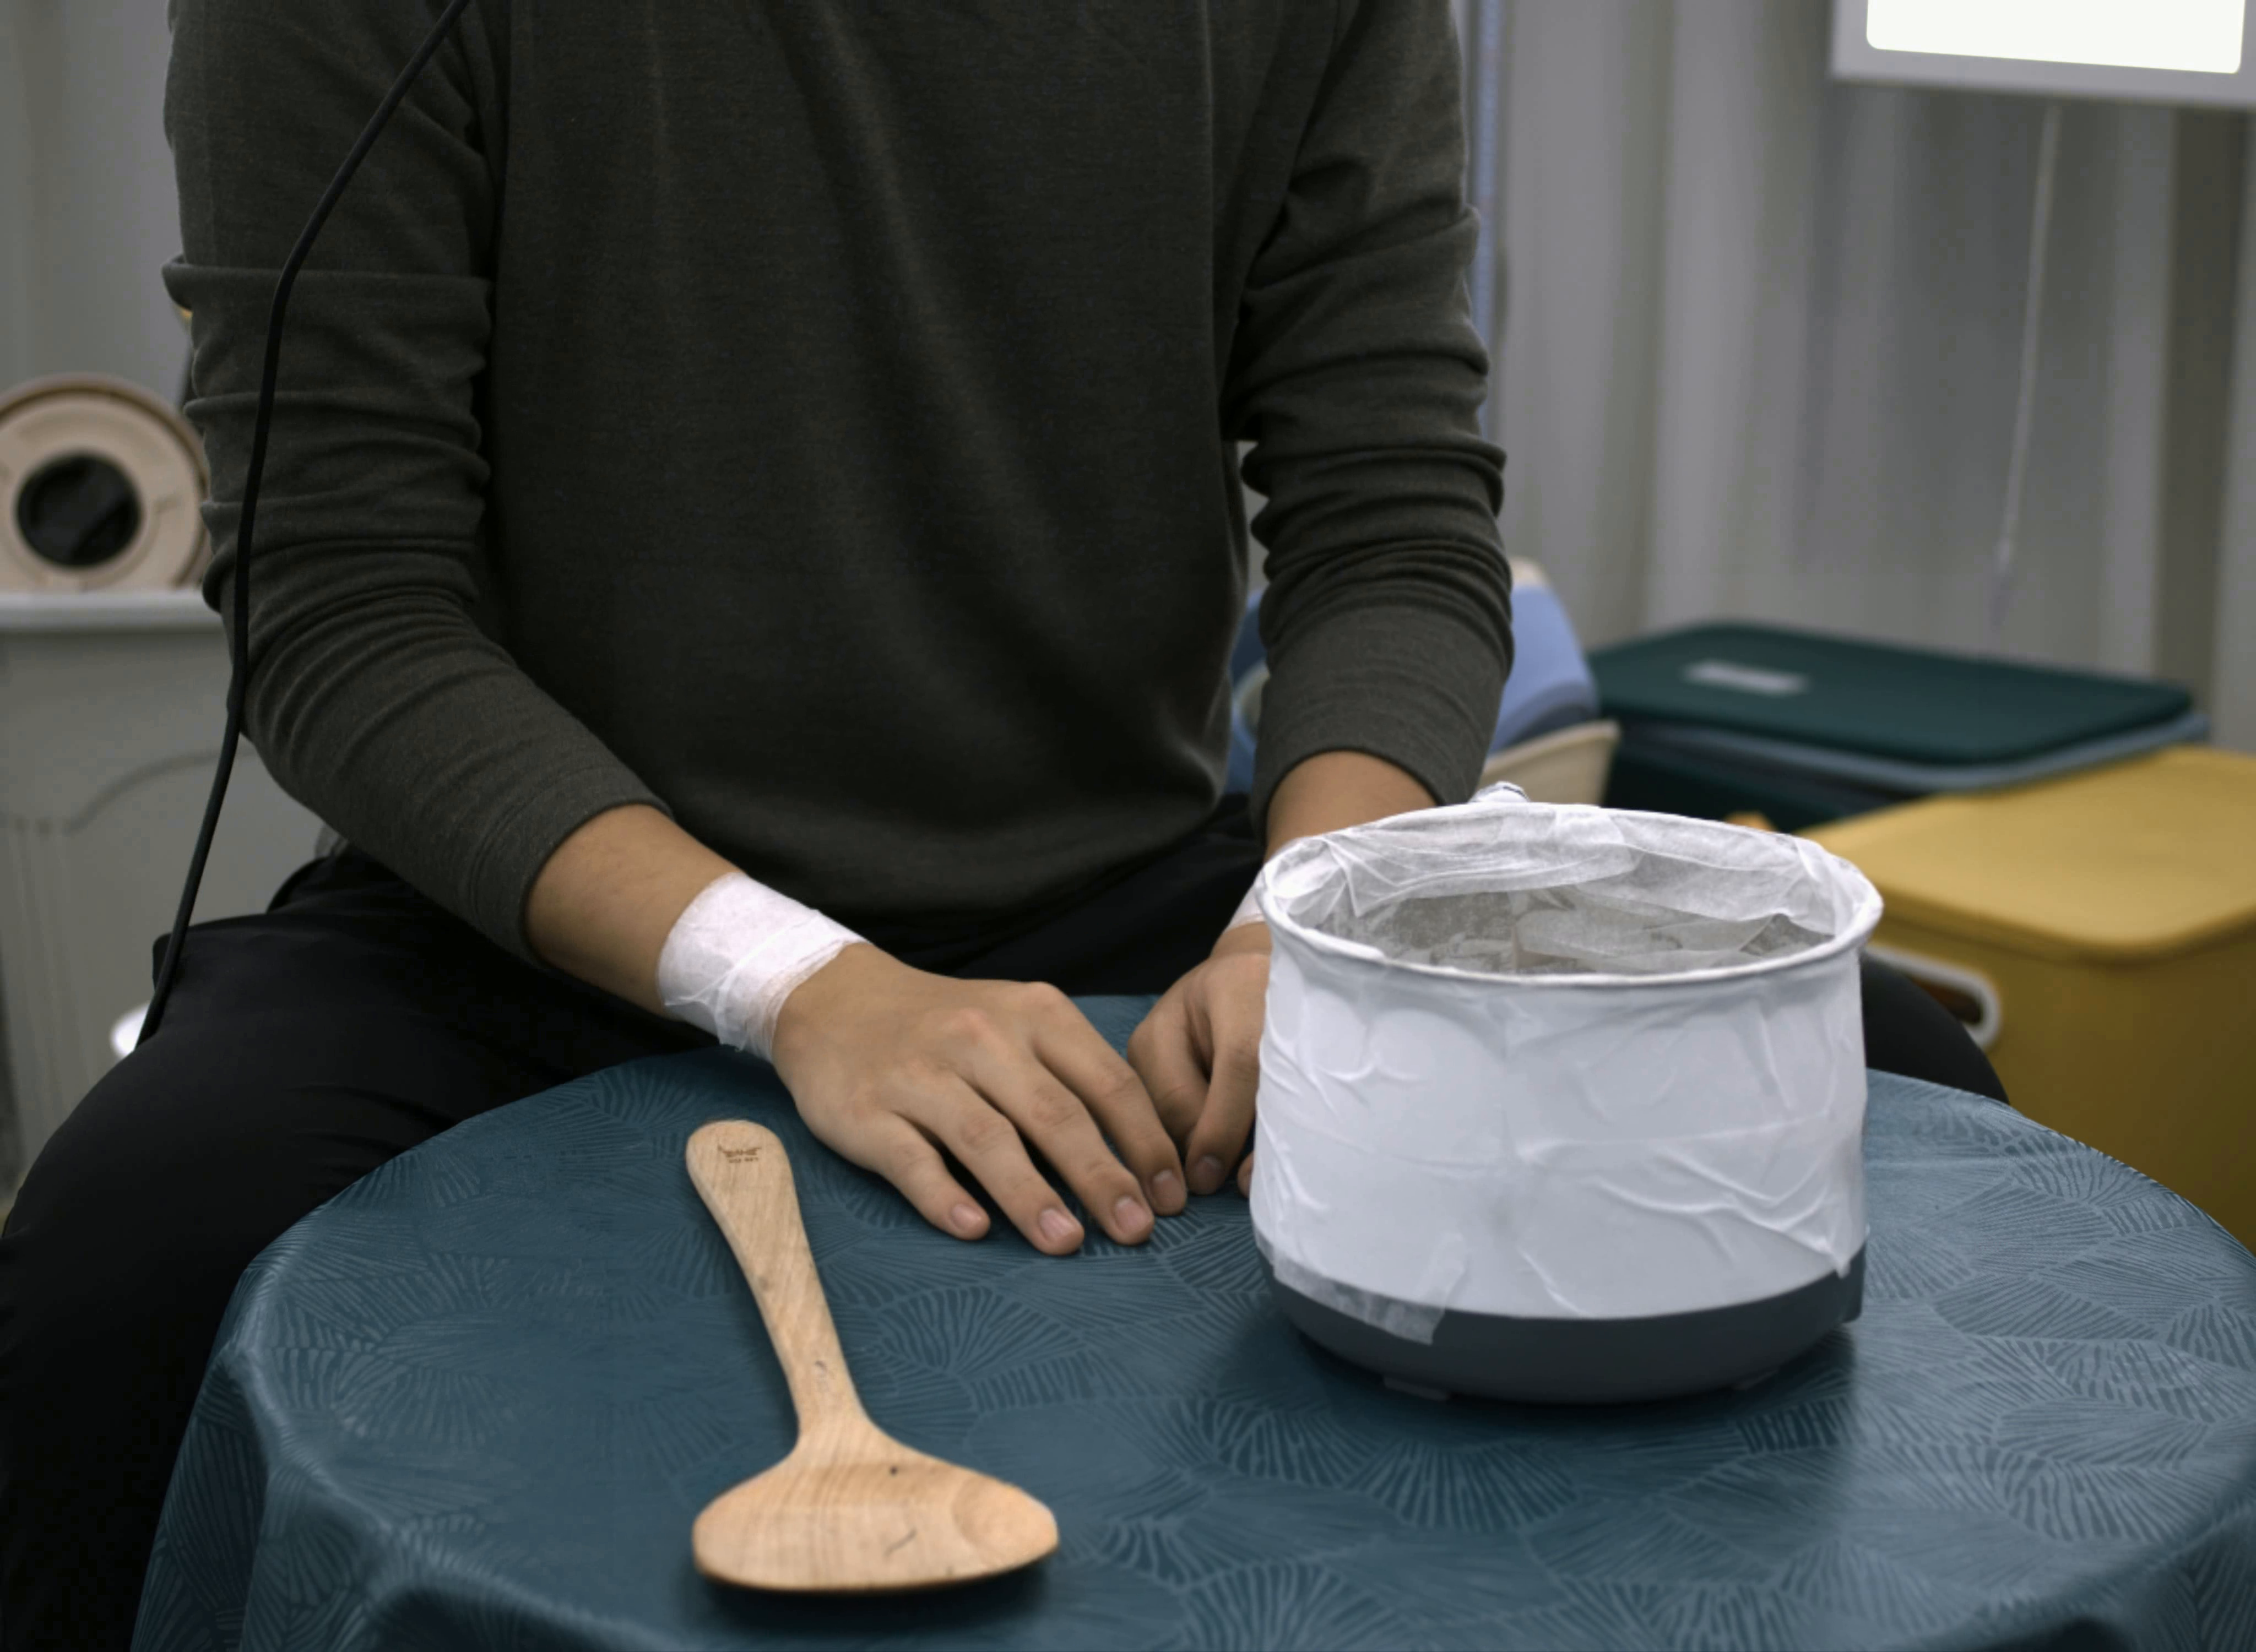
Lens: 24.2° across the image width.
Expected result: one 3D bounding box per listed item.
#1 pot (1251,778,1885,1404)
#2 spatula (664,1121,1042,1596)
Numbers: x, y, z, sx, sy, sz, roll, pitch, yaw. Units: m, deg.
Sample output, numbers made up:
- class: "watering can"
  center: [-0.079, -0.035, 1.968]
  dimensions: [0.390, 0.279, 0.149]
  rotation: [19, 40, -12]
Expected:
- class: "pot"
  center: [0.119, 0.071, 1.521]
  dimensions: [0.178, 0.138, 0.232]
  rotation: [-1, 16, -8]
- class: "spatula"
  center: [-0.098, 0.143, 1.478]
  dimensions: [0.096, 0.018, 0.387]
  rotation: [-1, 15, -11]
